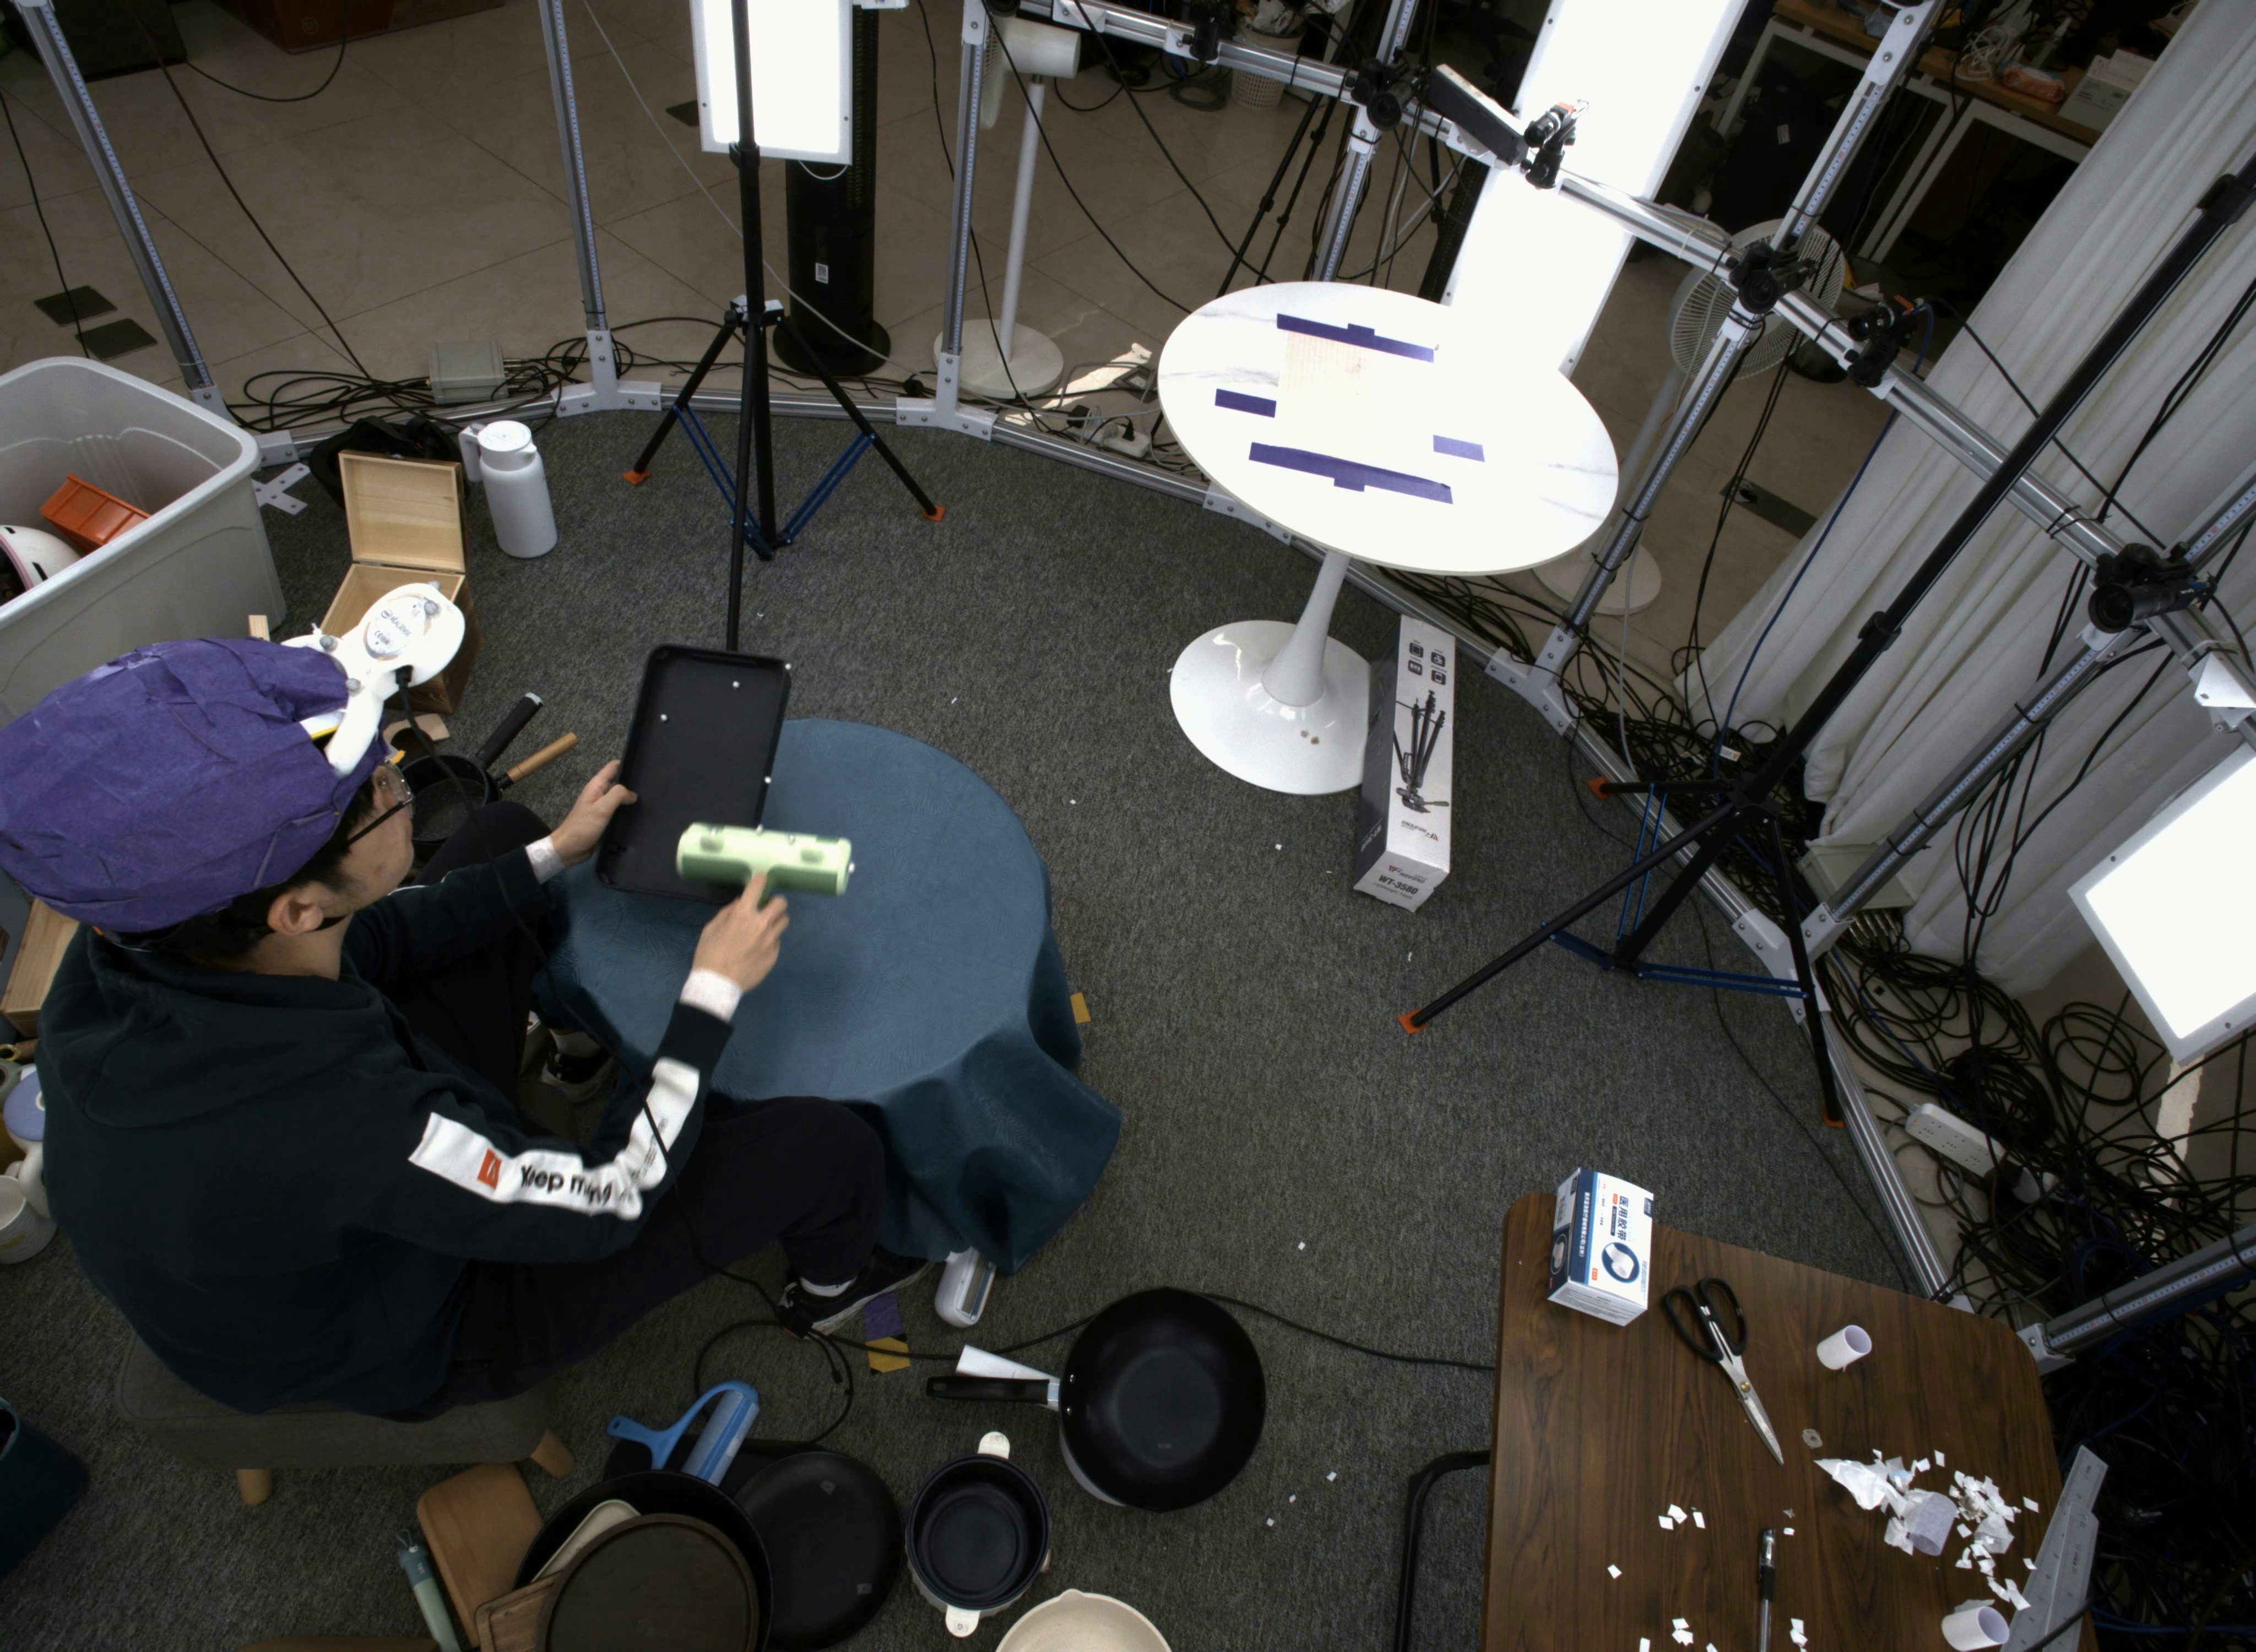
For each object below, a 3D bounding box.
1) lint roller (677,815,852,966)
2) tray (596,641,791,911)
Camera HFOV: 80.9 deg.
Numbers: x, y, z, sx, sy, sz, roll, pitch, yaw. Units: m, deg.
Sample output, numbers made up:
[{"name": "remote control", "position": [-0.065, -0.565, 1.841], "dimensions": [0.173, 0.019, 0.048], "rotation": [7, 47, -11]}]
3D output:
[{"name": "lint roller", "position": [-0.428, 0.065, 1.480], "dimensions": [0.198, 0.084, 0.180], "rotation": [8, 47, -6]}, {"name": "tray", "position": [-0.533, -0.064, 1.582], "dimensions": [0.182, 0.037, 0.318], "rotation": [9, 78, 2]}]
